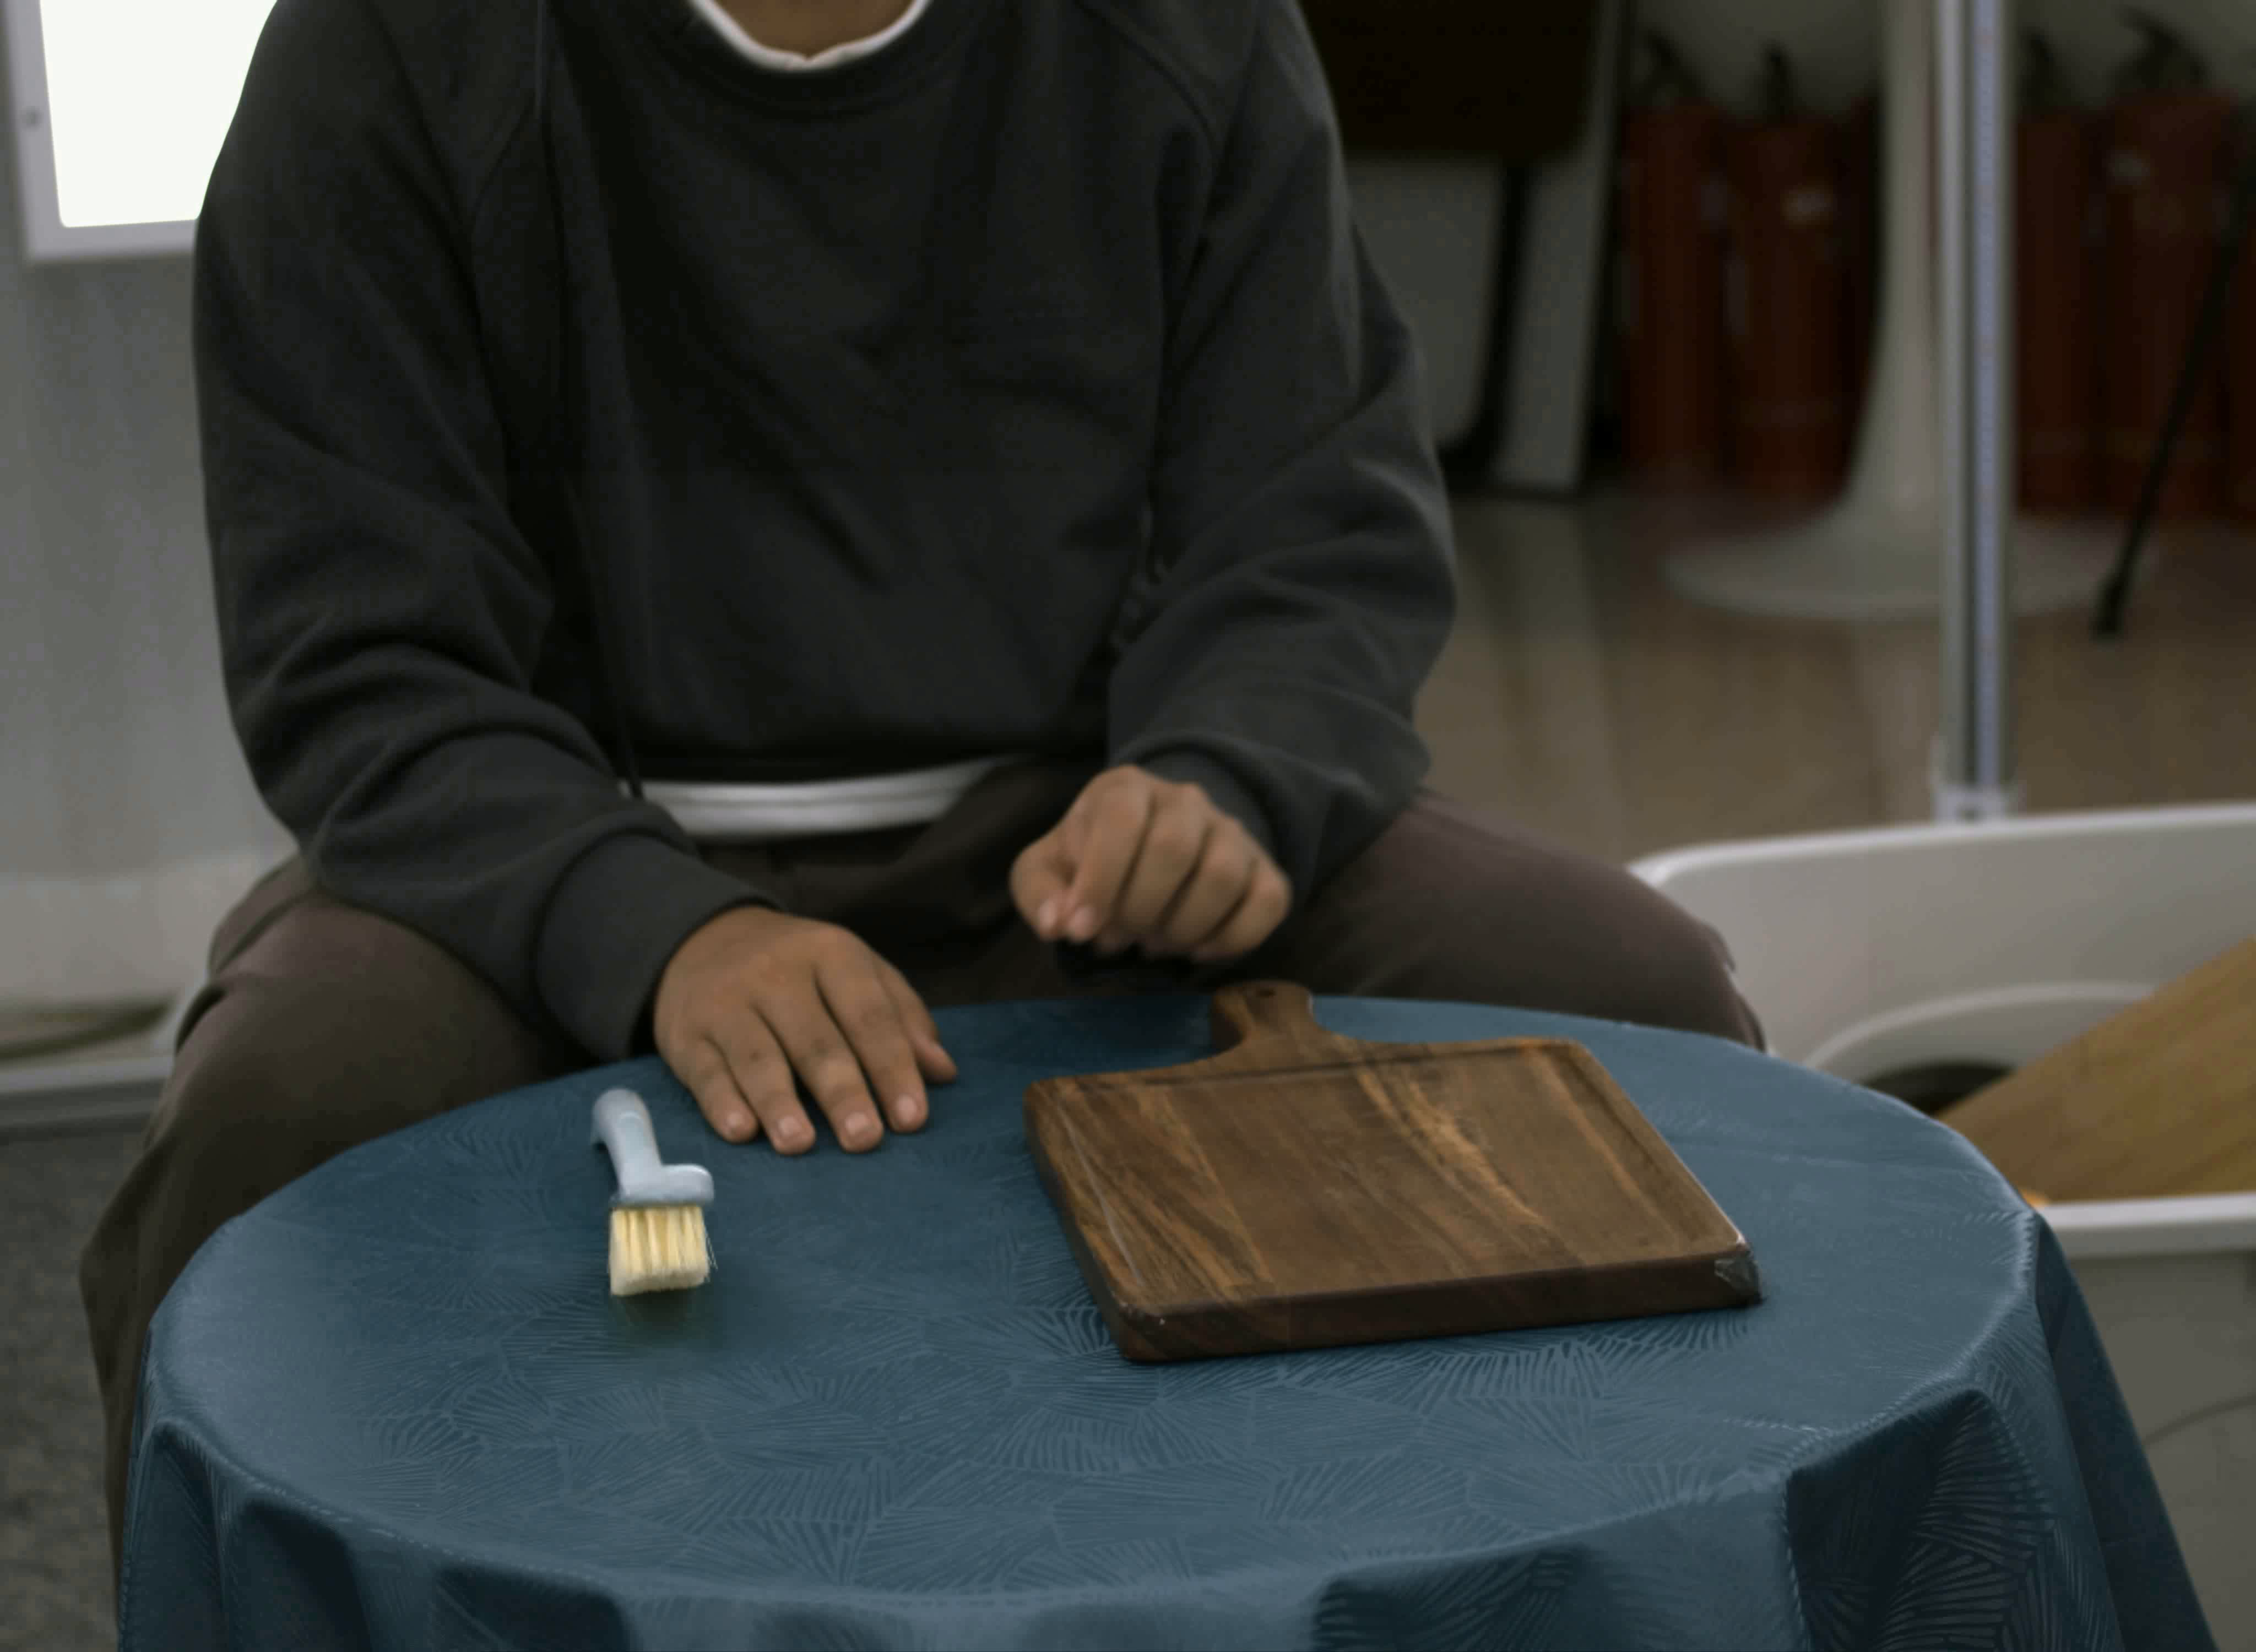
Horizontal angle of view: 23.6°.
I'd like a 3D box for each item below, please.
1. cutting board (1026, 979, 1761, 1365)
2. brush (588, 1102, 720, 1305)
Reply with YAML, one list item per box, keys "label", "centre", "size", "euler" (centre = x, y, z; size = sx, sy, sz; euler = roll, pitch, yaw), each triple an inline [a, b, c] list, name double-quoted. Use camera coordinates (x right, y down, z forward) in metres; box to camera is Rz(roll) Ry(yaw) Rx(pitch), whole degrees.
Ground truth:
- label: "cutting board"
  centre: [0.072, 0.104, 1.778]
  size: [0.198, 0.023, 0.354]
  euler: [-5, 14, -6]
- label: "brush"
  centre: [-0.158, 0.122, 1.752]
  size: [0.037, 0.050, 0.230]
  euler: [-4, 4, -10]
